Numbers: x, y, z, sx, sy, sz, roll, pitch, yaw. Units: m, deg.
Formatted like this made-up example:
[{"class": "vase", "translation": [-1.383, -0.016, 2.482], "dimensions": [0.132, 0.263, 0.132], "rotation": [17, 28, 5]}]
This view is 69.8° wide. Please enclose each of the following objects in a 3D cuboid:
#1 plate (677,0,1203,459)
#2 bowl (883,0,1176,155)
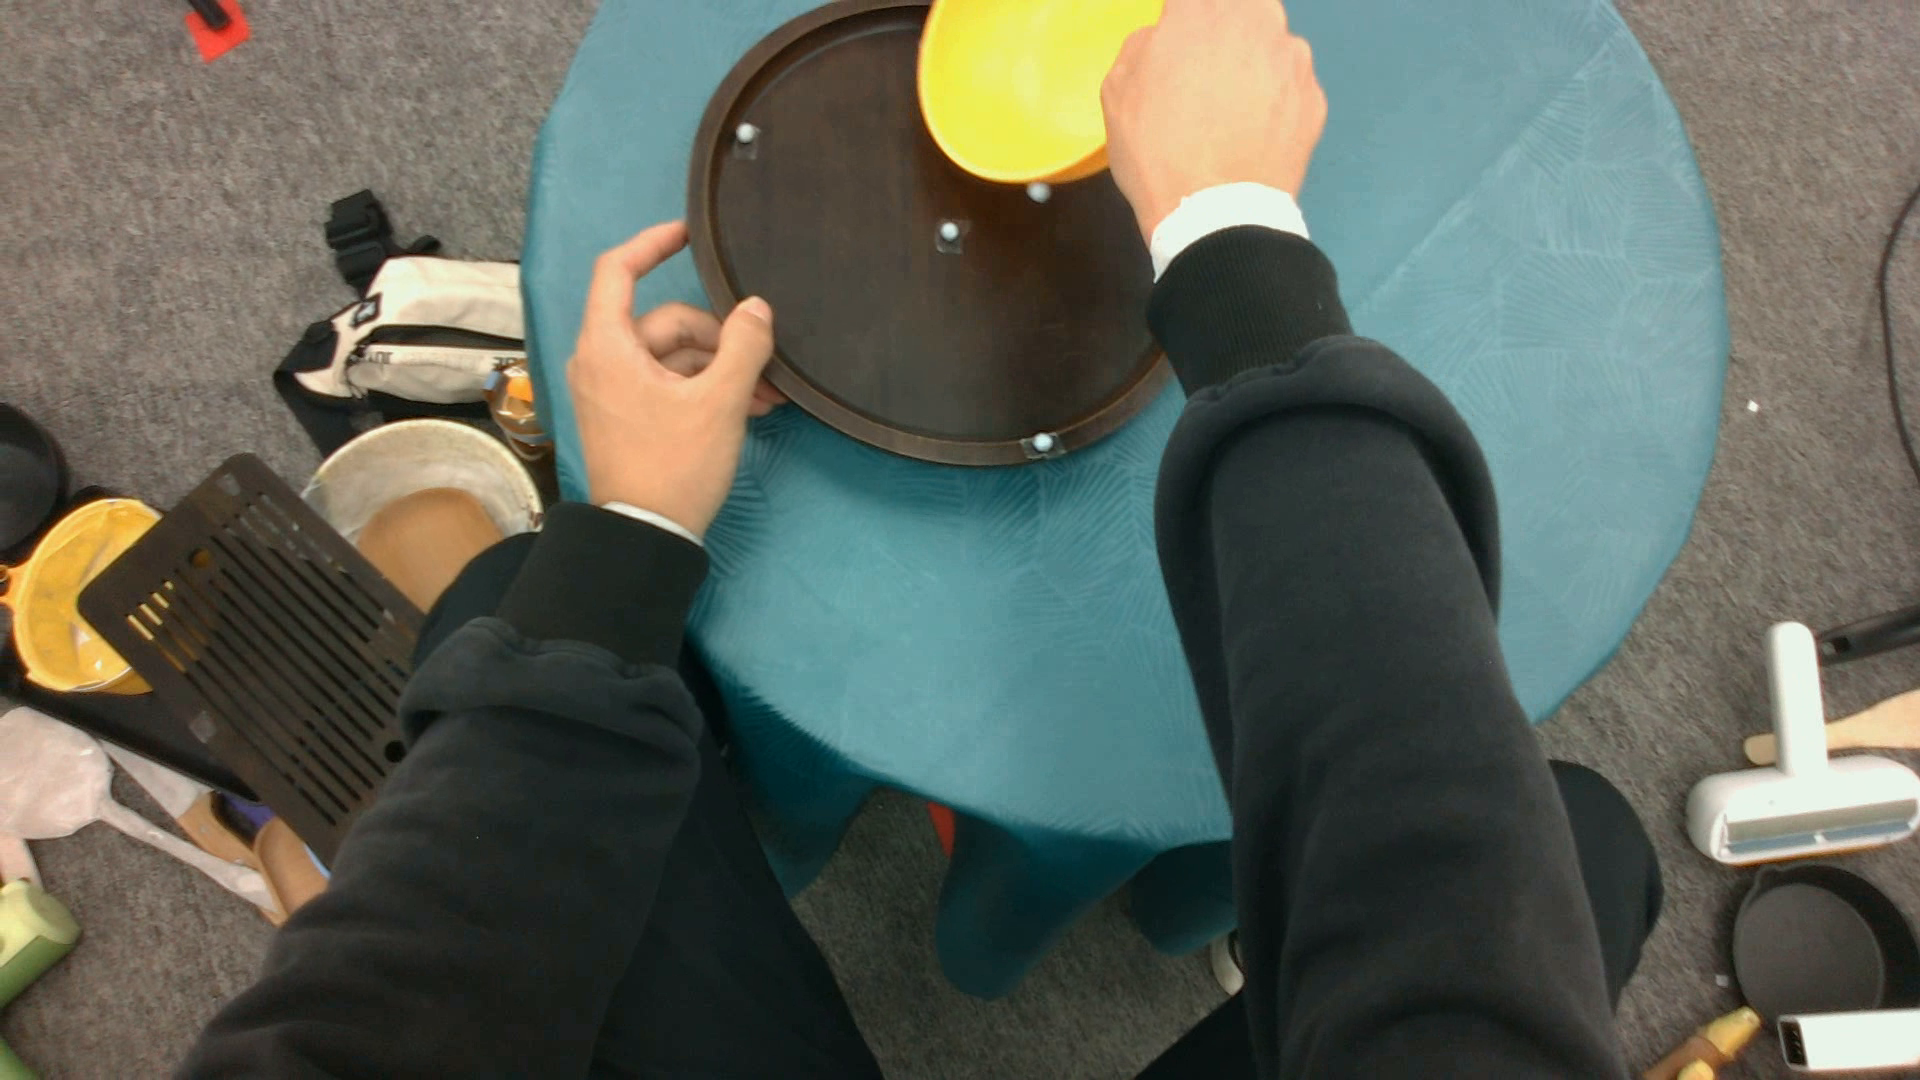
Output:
[{"class": "plate", "translation": [-0.006, -0.155, 0.657], "dimensions": [0.255, 0.029, 0.255], "rotation": [4, 72, -12]}, {"class": "bowl", "translation": [0.040, -0.234, 0.635], "dimensions": [0.145, 0.060, 0.145], "rotation": [-9, 70, 26]}]
